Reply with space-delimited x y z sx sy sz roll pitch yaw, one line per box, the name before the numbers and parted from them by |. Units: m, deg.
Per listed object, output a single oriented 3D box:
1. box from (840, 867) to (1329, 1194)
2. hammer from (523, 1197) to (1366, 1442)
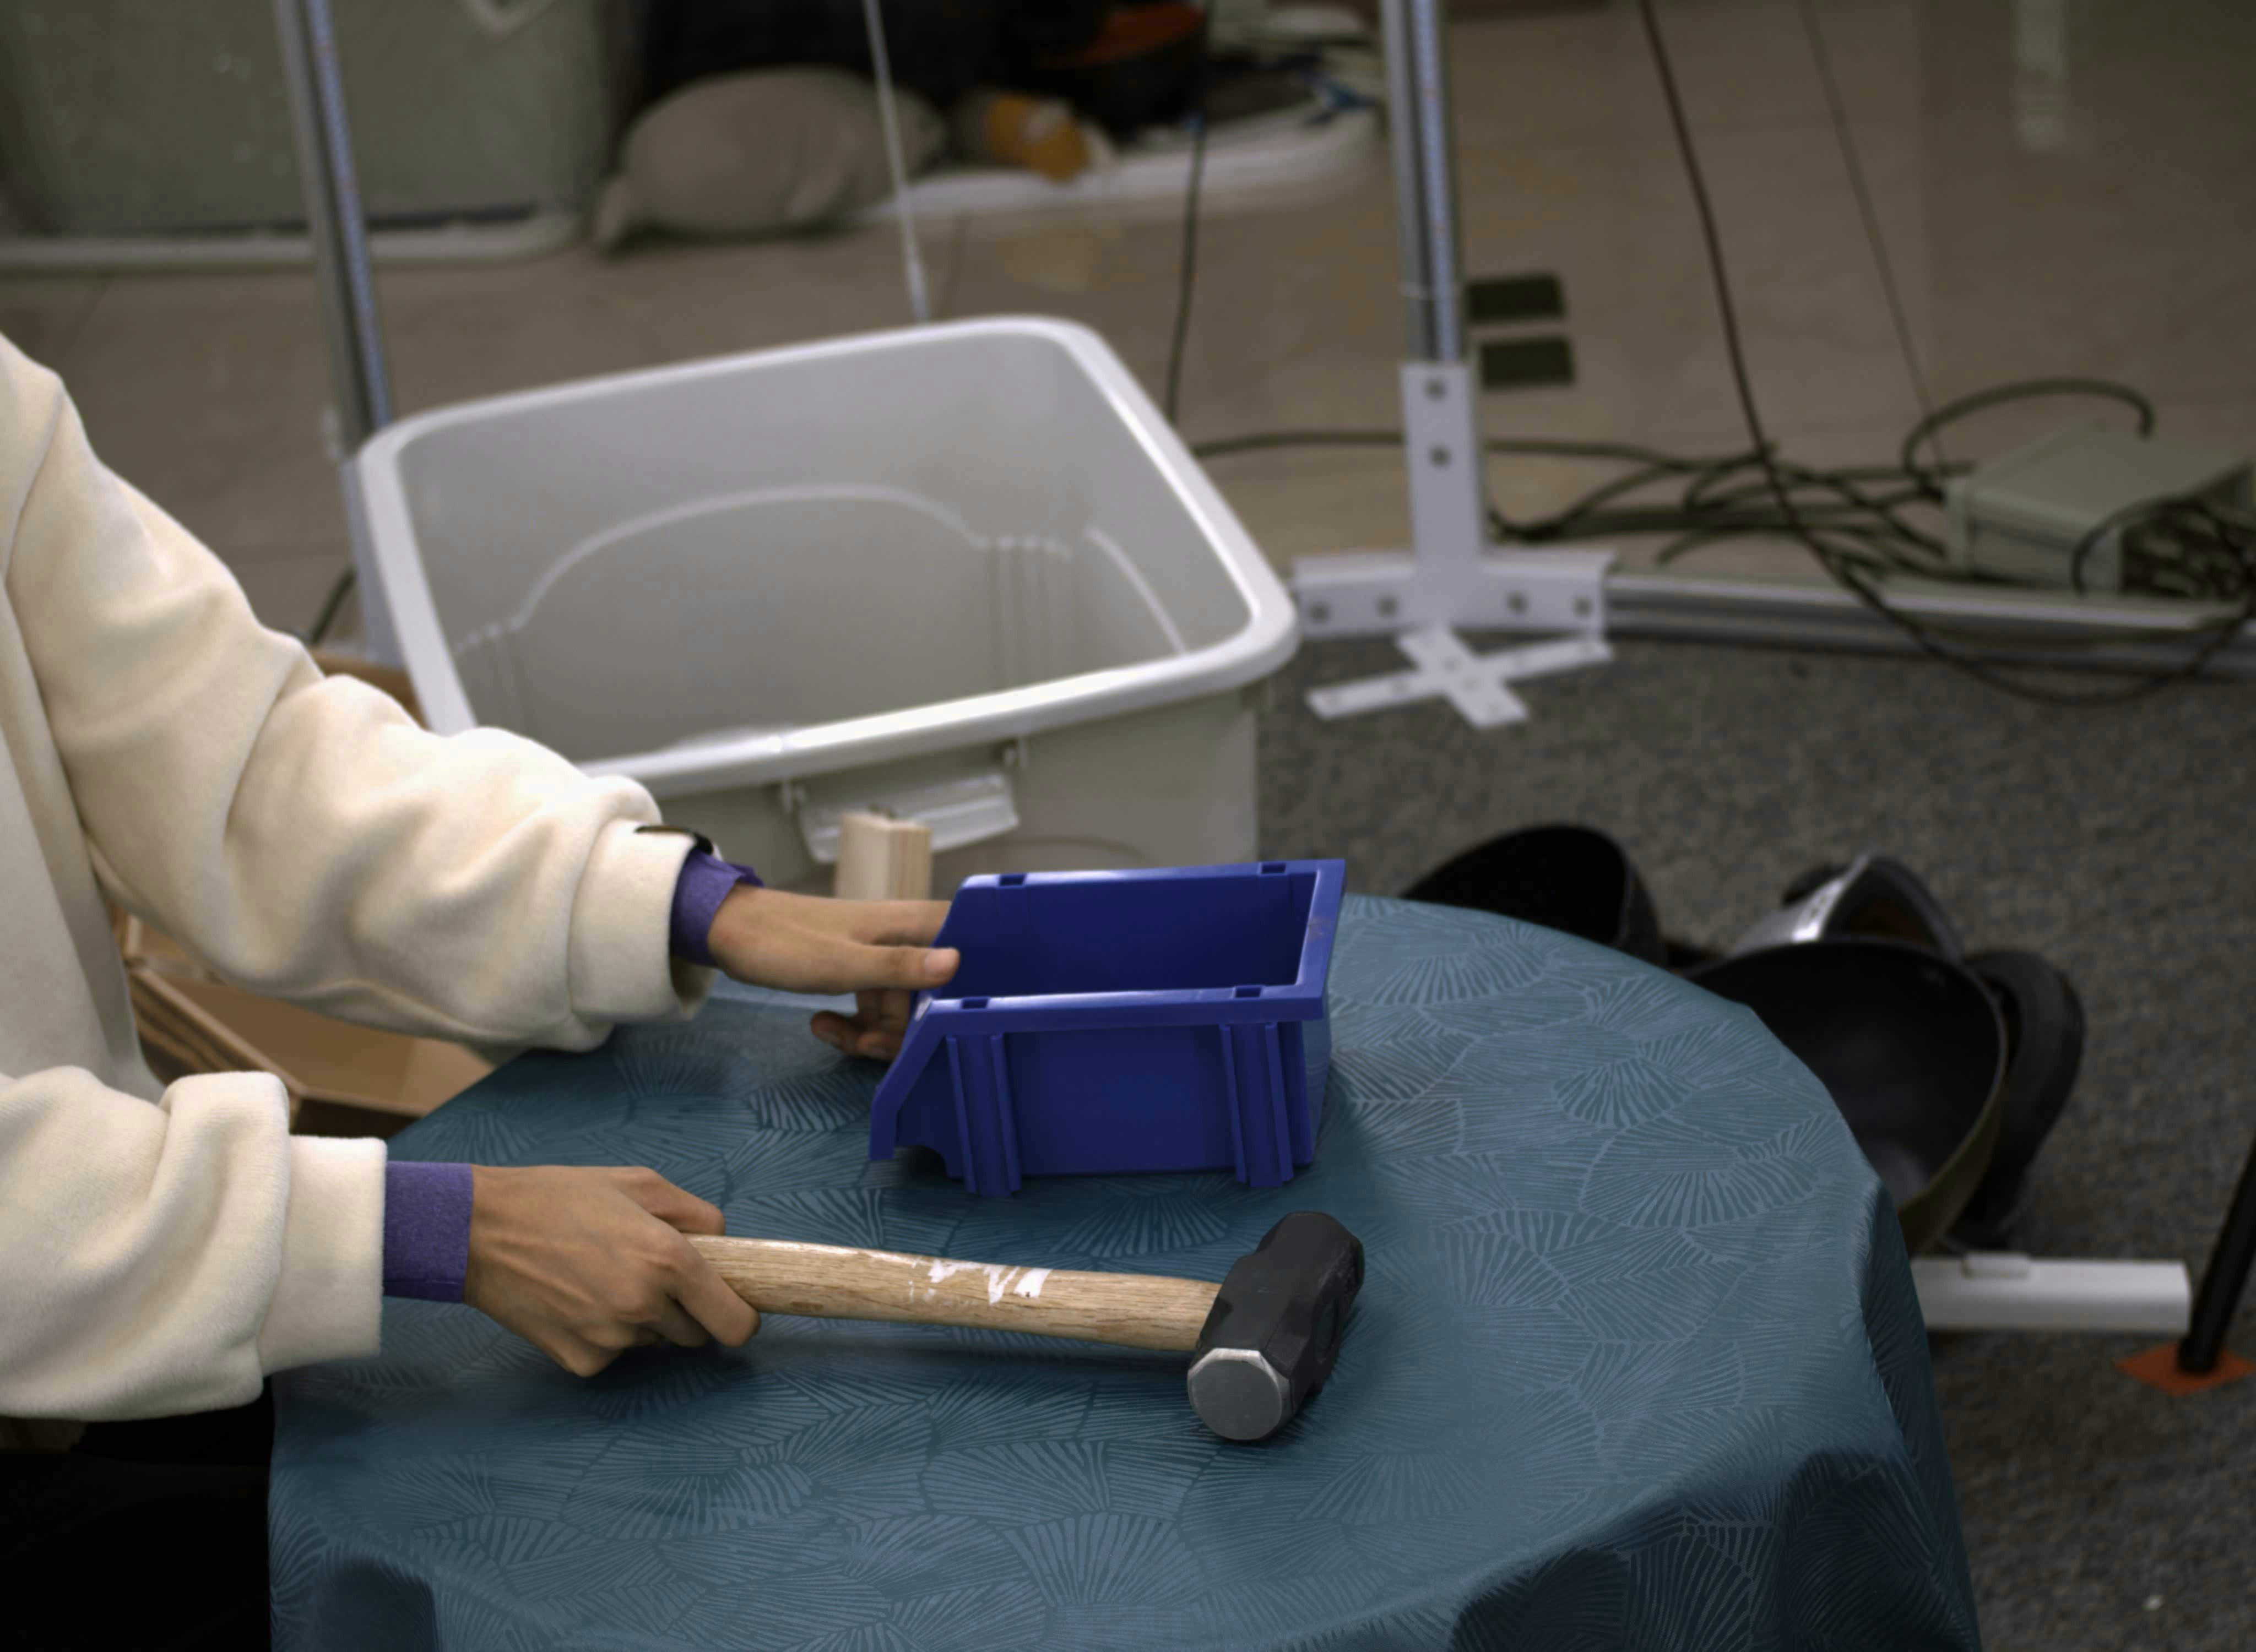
box | -0.016 0.079 2.184 0.179 0.083 0.122 0 26 8
hammer | -0.074 0.165 2.048 0.304 0.039 0.106 5 27 18
